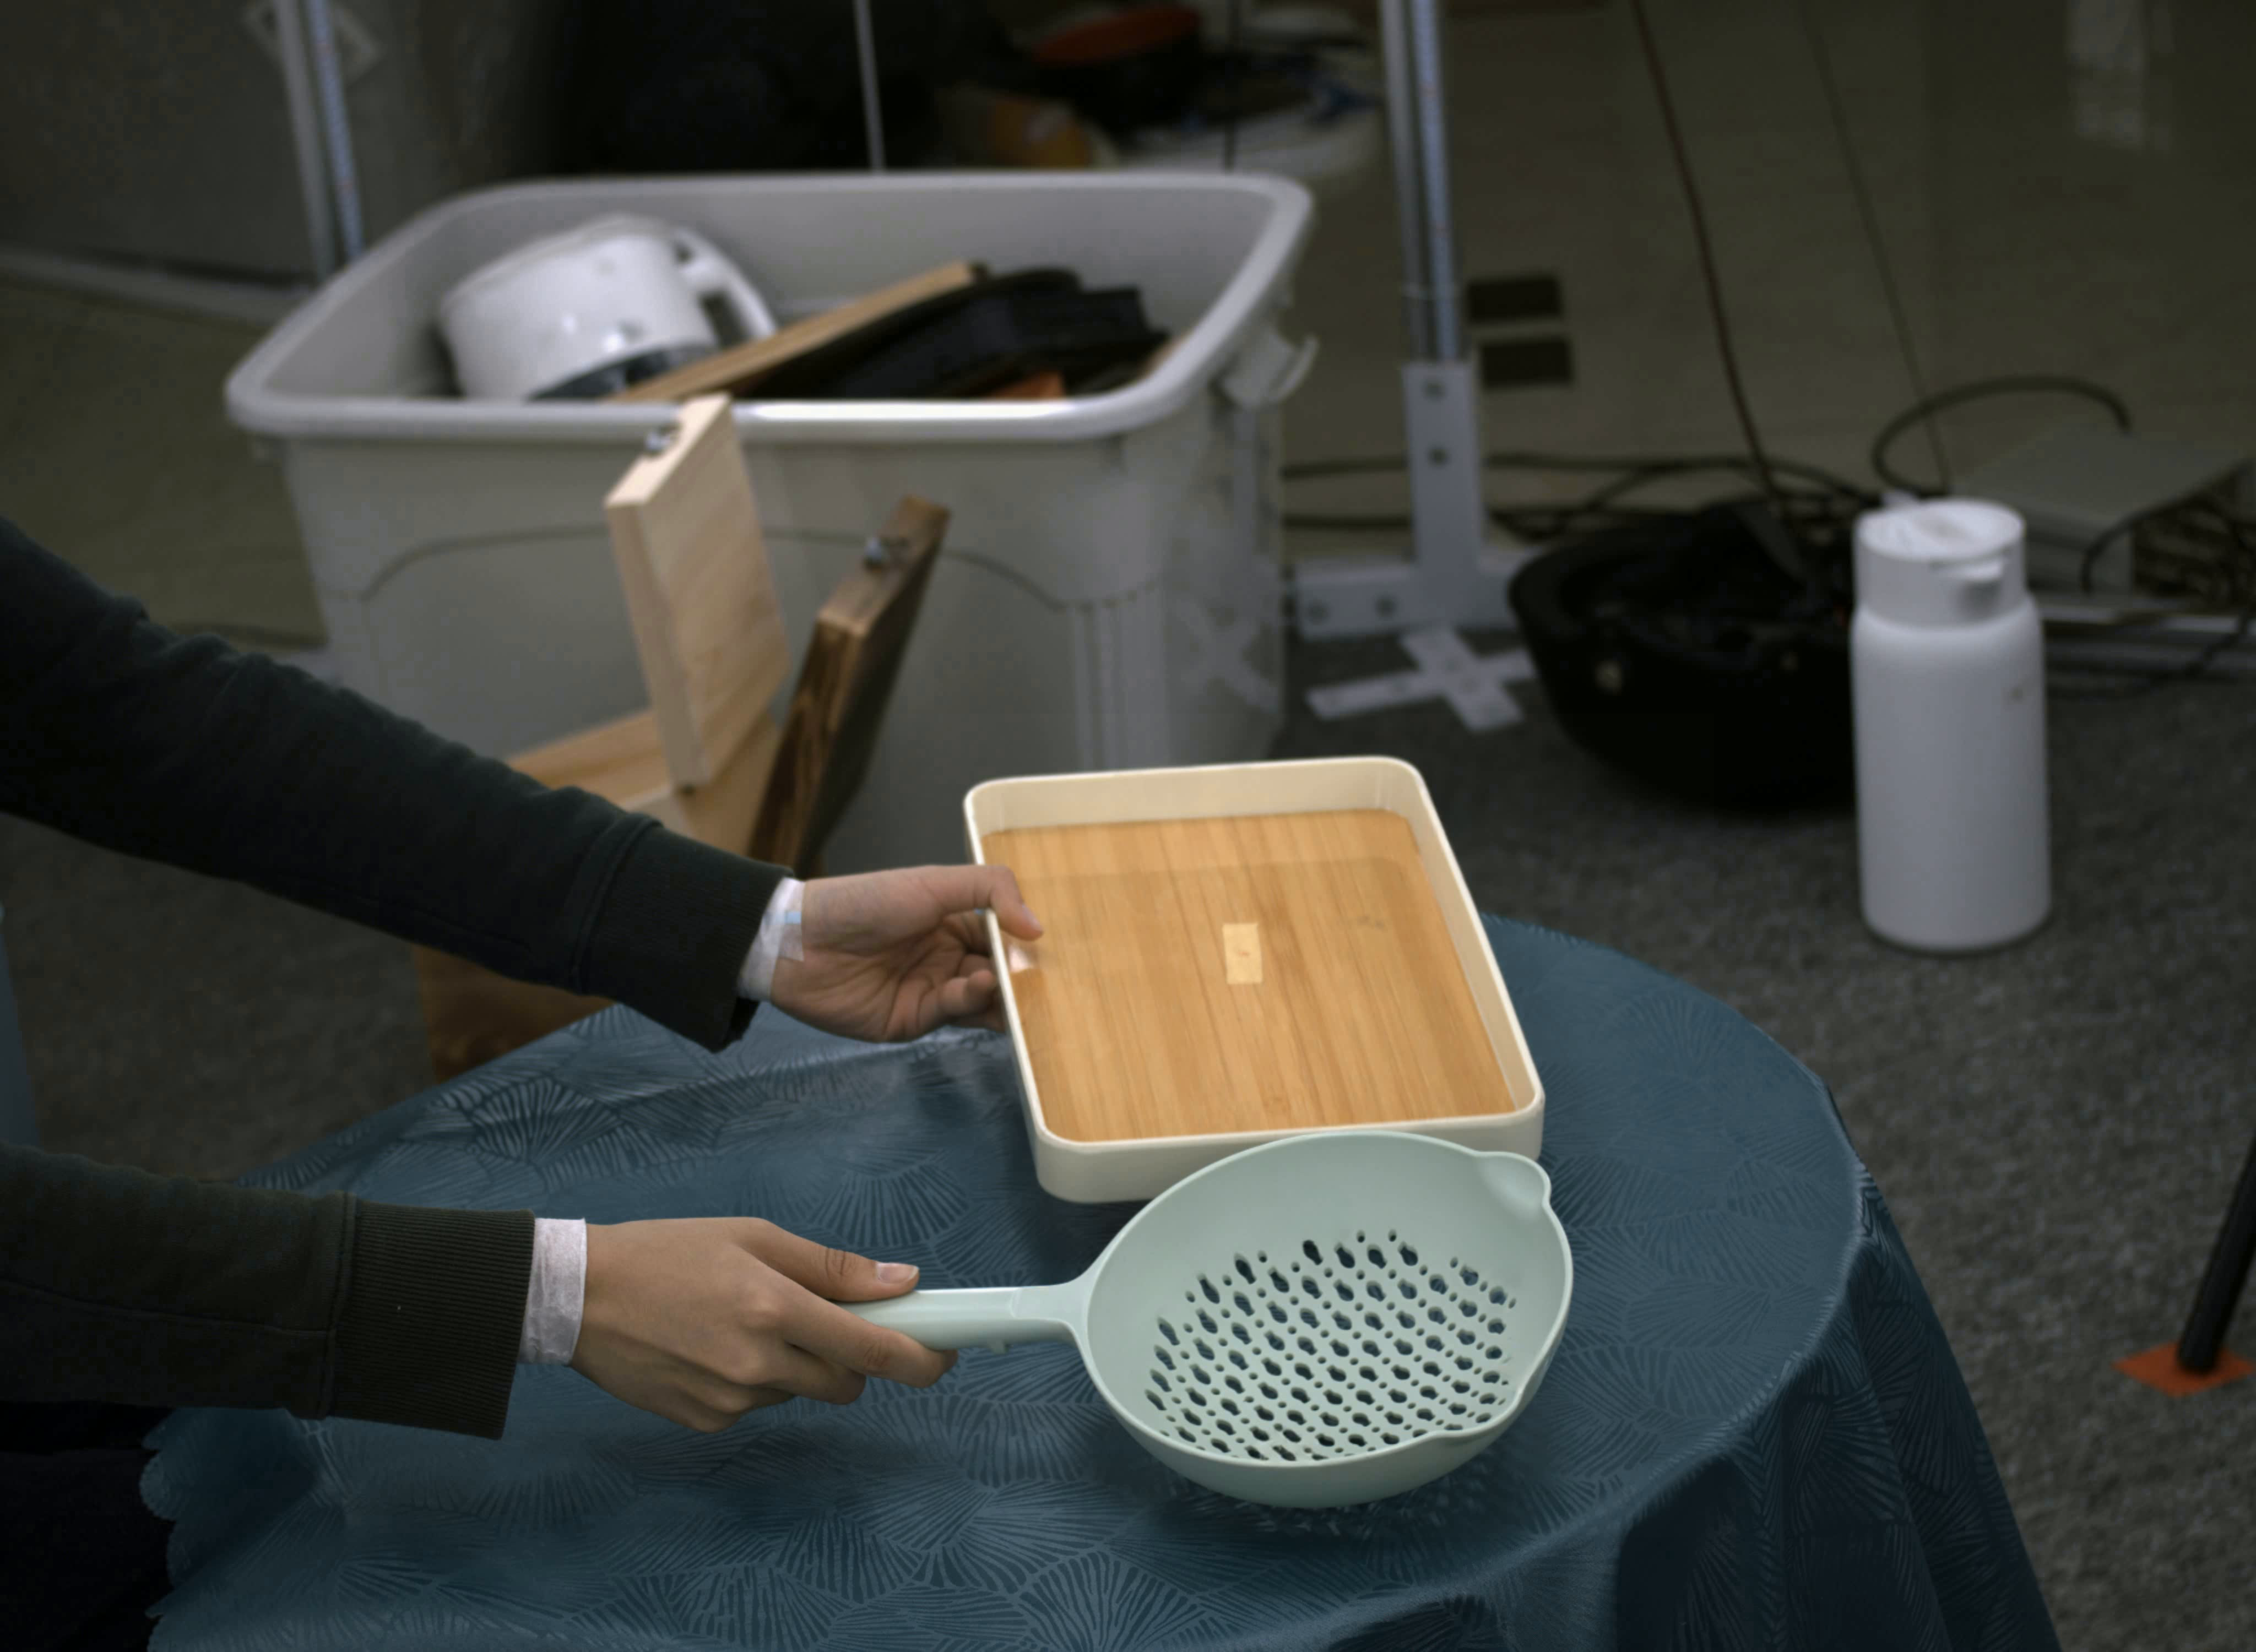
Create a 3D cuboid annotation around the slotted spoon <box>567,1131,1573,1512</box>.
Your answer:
[{"bbox_3d":[-0.025,0.175,1.976,0.358,0.077,0.166,4,39,8],"label":"slotted spoon"}]

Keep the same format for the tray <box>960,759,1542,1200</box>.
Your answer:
[{"bbox_3d":[0.042,0.055,2.200,0.191,0.028,0.295,-3,27,-6],"label":"tray"}]
